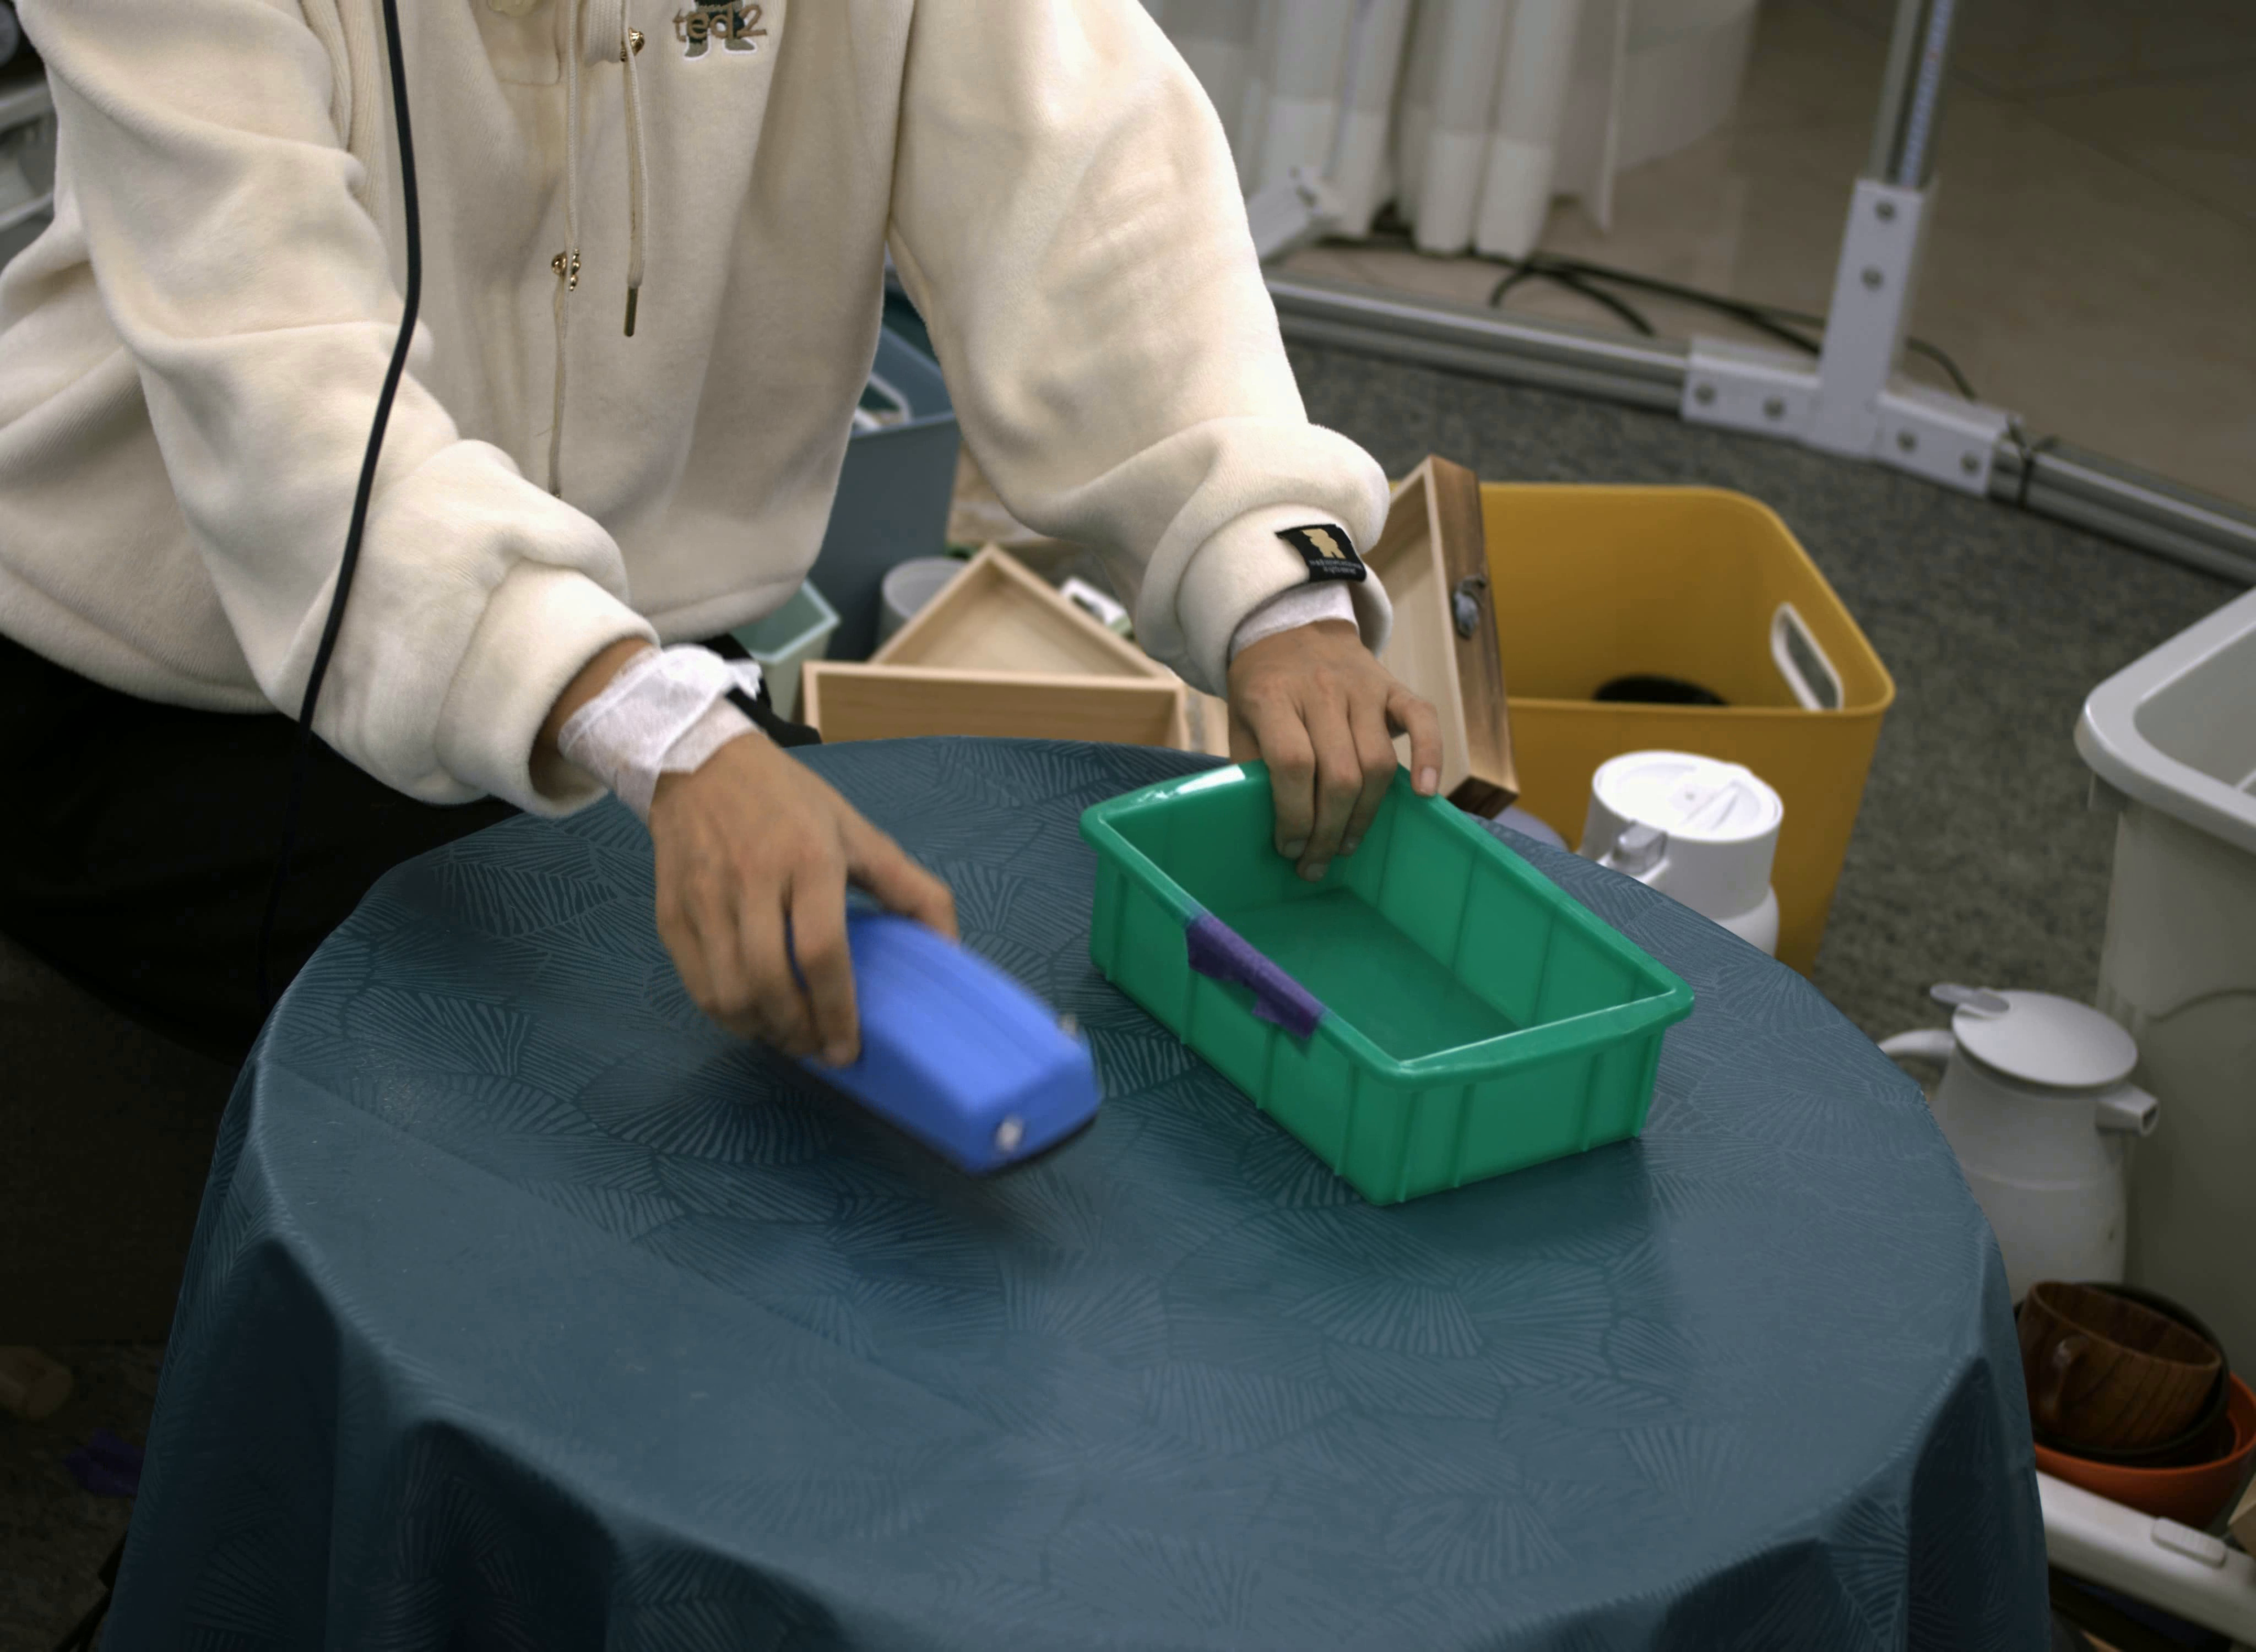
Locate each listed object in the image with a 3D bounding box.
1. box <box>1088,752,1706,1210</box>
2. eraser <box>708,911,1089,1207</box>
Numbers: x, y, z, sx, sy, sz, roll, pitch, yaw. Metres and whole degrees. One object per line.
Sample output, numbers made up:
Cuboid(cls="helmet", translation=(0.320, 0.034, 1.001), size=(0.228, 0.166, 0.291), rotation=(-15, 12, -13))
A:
Cuboid(cls="box", translation=(0.090, 0.055, 1.887), size=(0.138, 0.065, 0.212), rotation=(-15, 35, -32))
Cuboid(cls="eraser", translation=(-0.080, 0.072, 1.798), size=(0.053, 0.047, 0.163), rotation=(-26, 35, -29))
